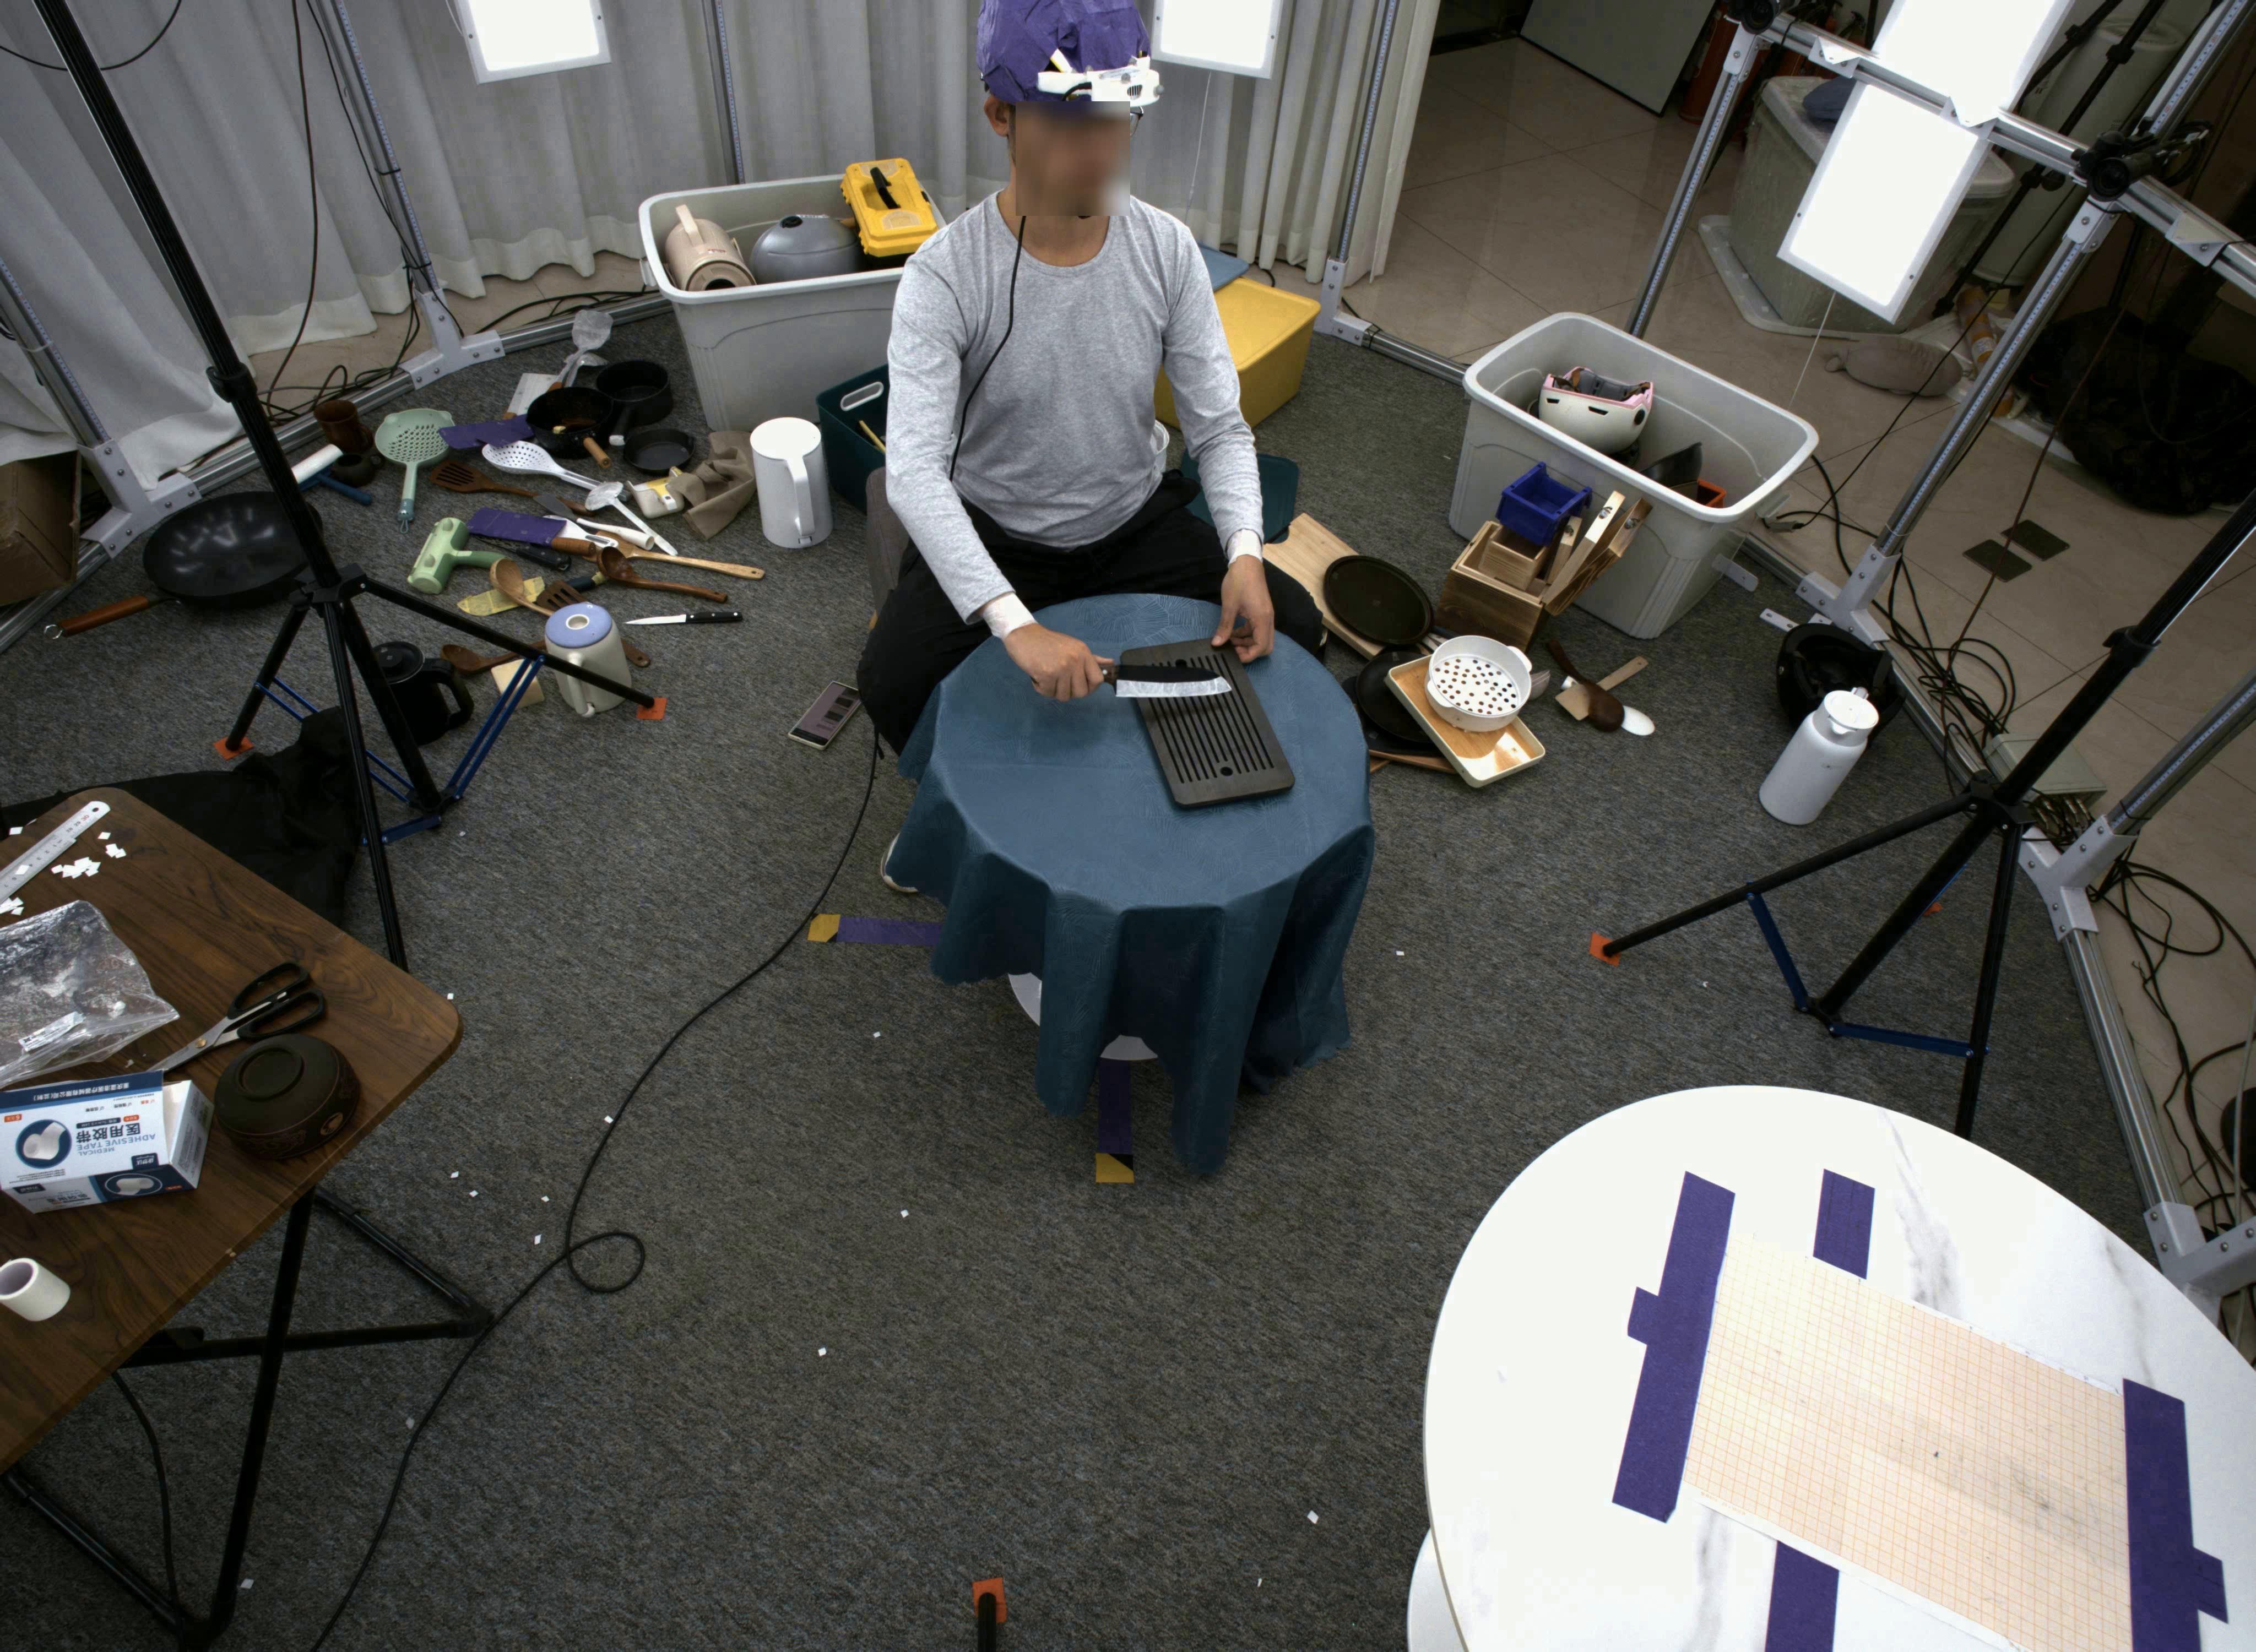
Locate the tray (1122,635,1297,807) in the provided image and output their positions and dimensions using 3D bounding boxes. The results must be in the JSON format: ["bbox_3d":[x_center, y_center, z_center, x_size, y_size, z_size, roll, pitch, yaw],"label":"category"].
[{"bbox_3d":[0.108,-0.151,1.793,0.170,0.018,0.313,-10,50,-11],"label":"tray"}]

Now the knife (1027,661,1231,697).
[{"bbox_3d":[0.004,-0.203,1.763,0.288,0.020,0.050,2,89,-12],"label":"knife"}]
